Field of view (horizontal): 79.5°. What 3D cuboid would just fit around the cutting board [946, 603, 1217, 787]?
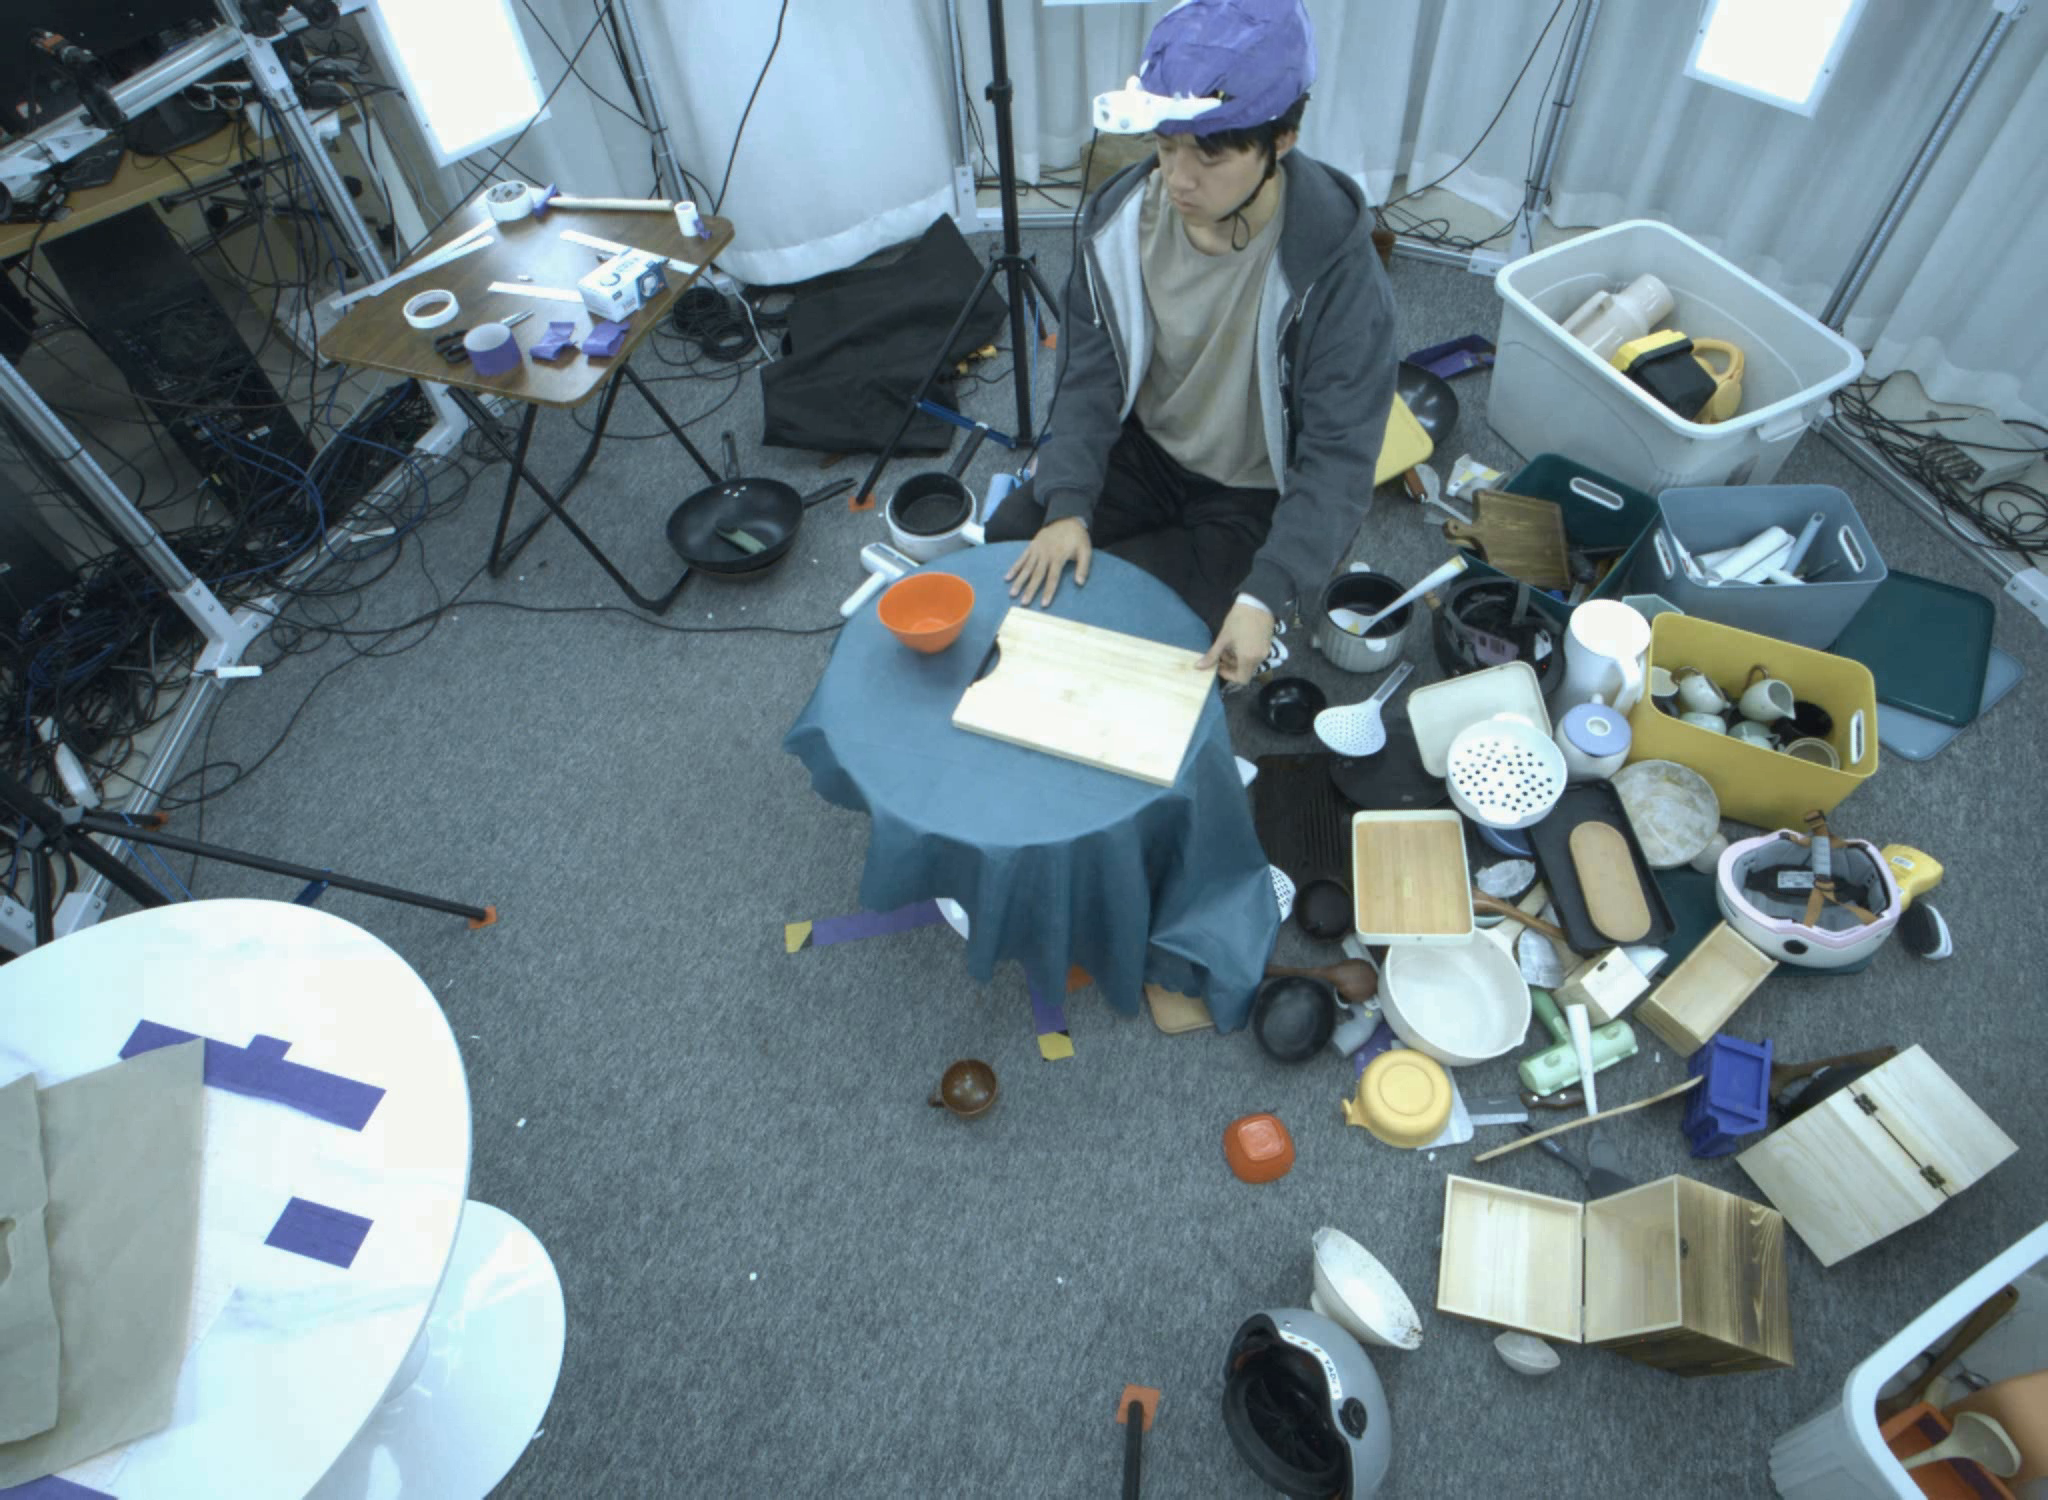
[{"bbox_3d":[0.089,-0.089,1.840,0.345,0.024,0.250,16,56,13],"label":"cutting board"}]

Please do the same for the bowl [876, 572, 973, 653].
[{"bbox_3d":[-0.147,-0.197,1.872,0.148,0.106,0.146,-2,55,4],"label":"bowl"}]
